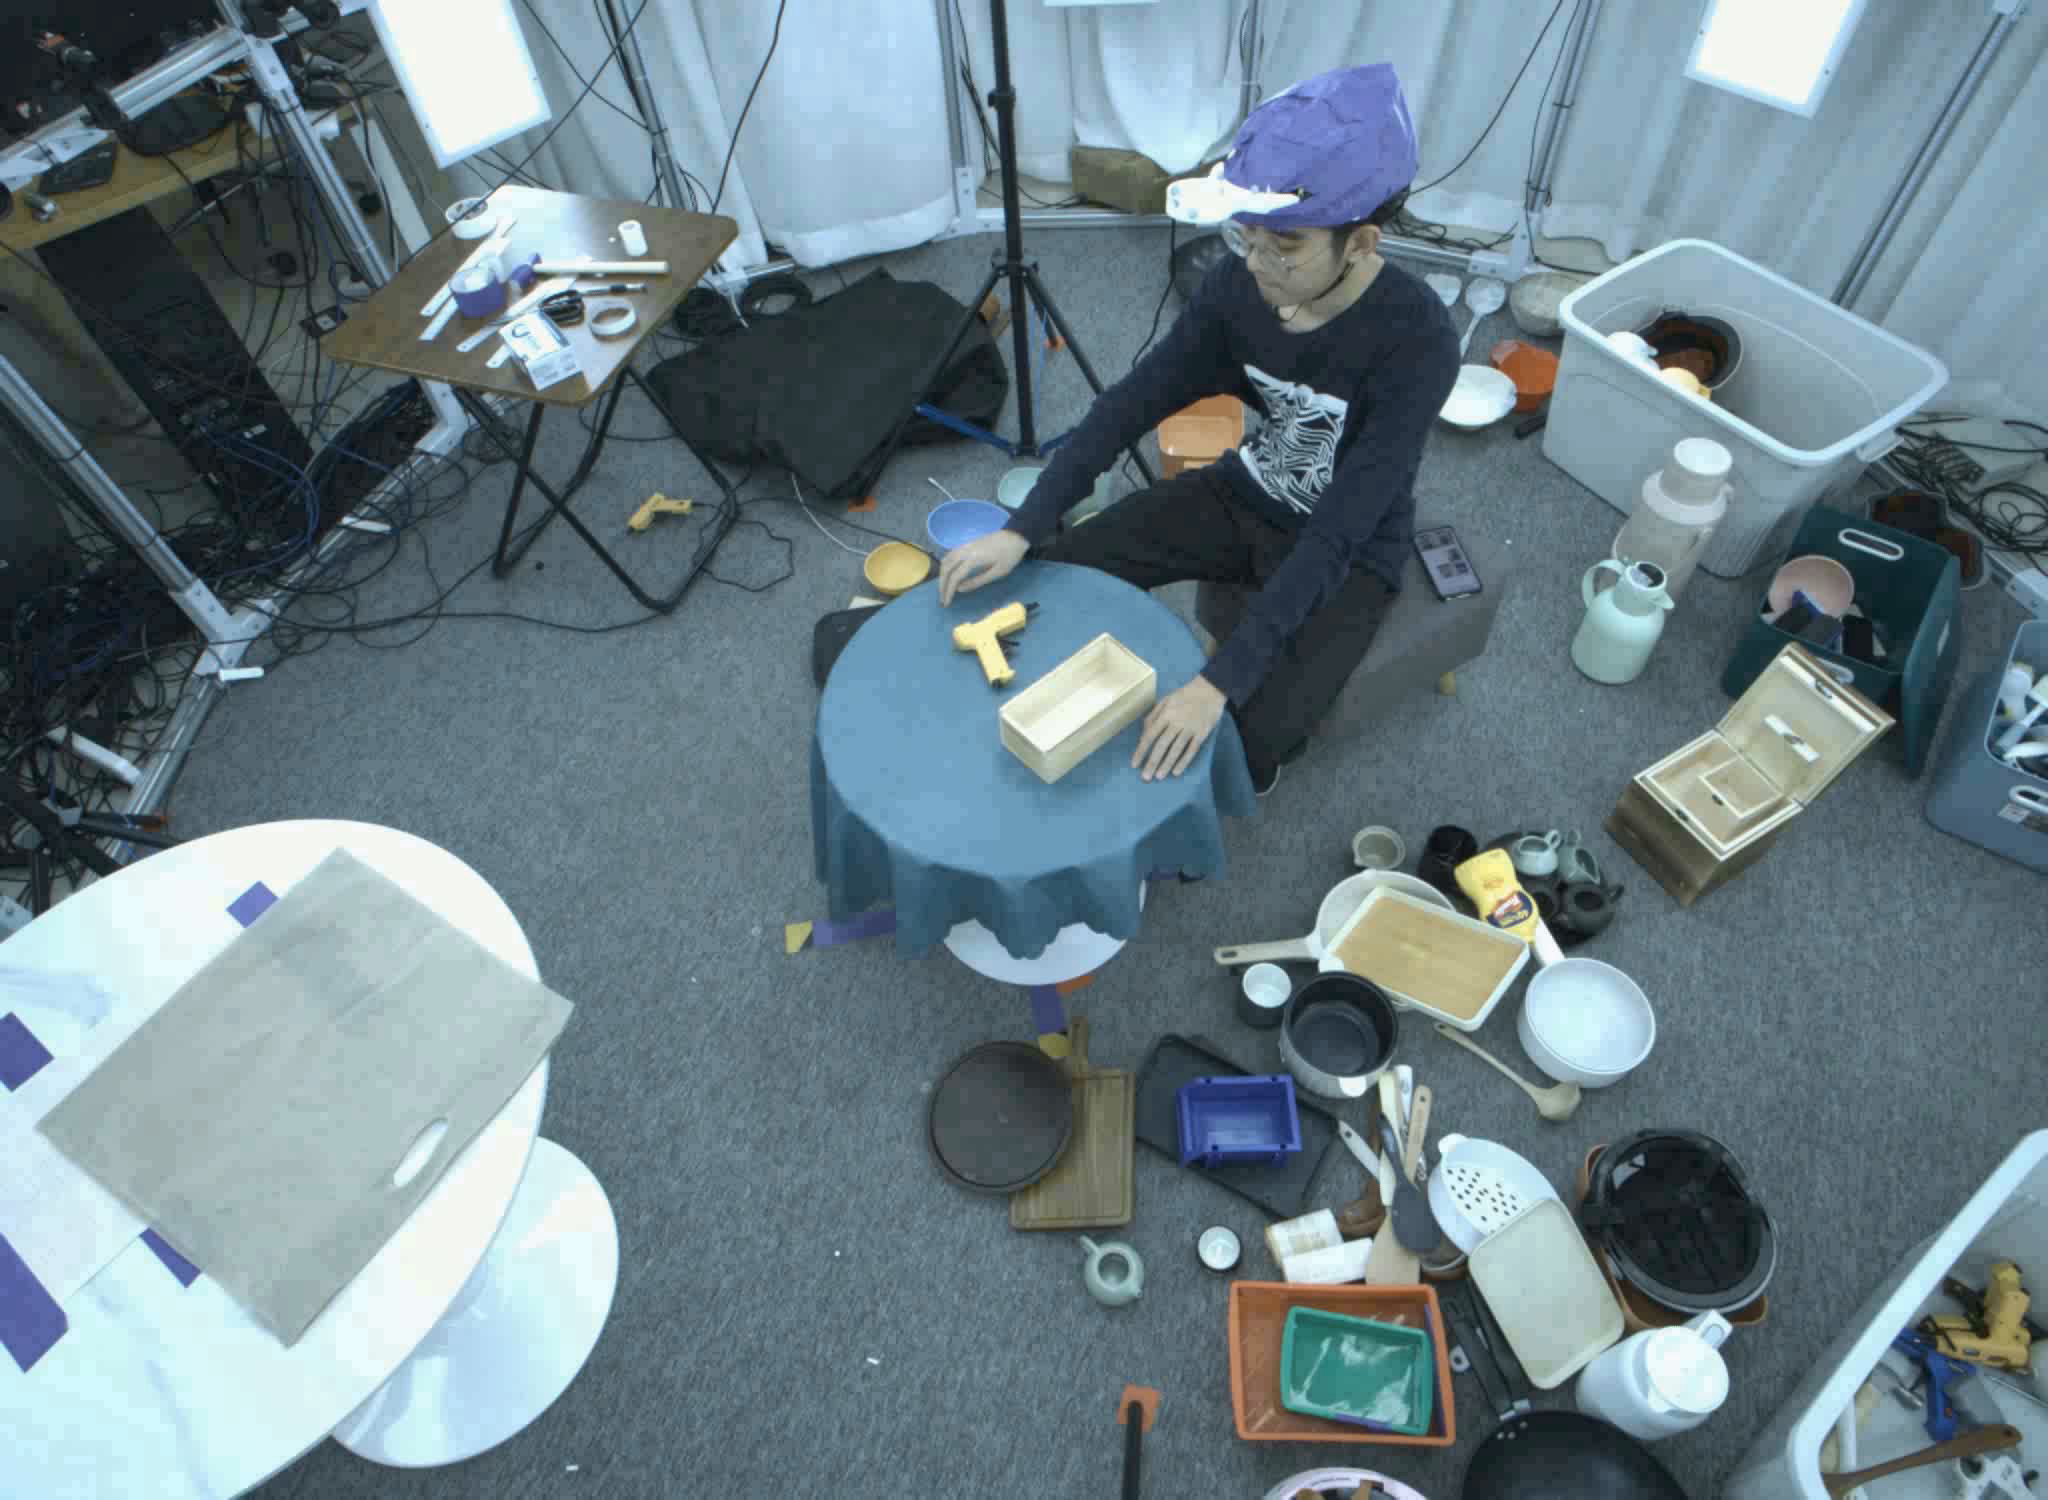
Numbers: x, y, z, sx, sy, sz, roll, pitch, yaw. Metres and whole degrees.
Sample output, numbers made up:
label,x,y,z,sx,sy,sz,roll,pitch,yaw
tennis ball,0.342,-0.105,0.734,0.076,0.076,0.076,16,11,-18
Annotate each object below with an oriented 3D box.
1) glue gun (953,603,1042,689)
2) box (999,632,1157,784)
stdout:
label,x,y,z,sx,sy,sz,roll,pitch,yaw
glue gun,-0.016,-0.170,1.893,0.152,0.031,0.130,-29,59,-17
box,0.080,-0.062,1.778,0.213,0.081,0.105,-37,60,-21
